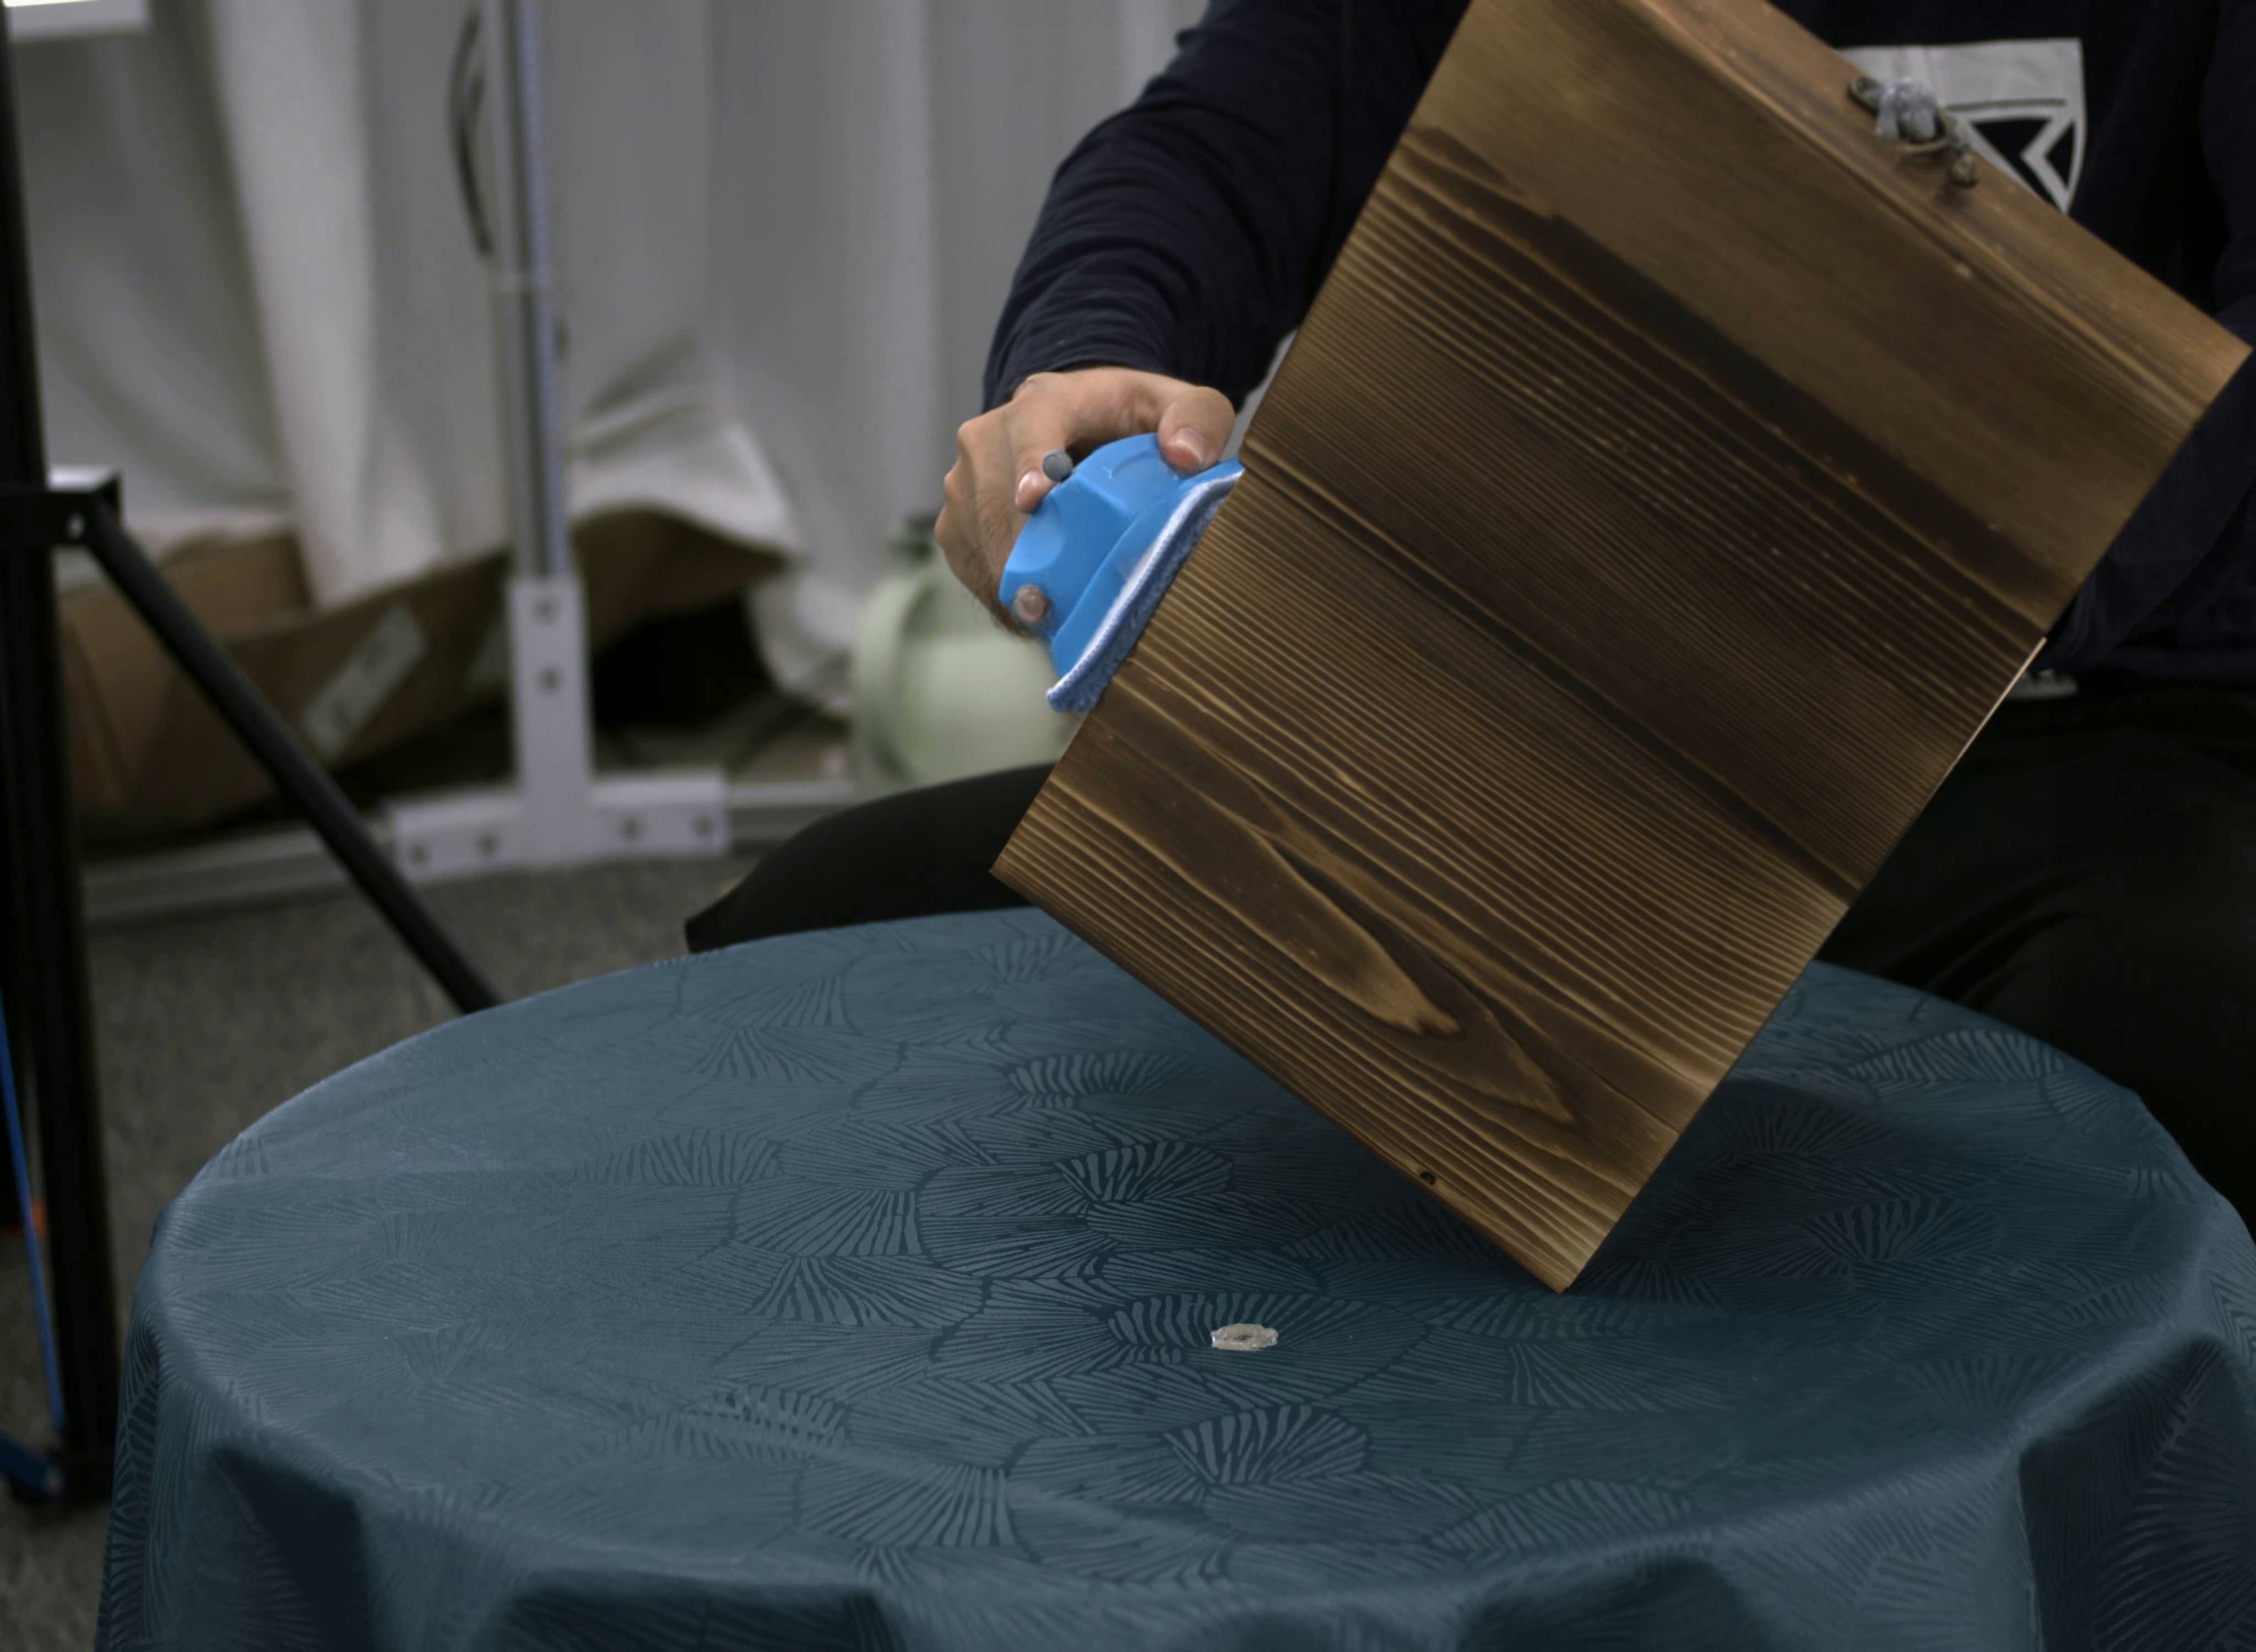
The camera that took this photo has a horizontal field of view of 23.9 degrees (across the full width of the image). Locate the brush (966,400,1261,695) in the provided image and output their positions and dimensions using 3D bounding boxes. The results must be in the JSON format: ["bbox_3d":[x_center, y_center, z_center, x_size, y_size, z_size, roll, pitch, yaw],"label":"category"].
[{"bbox_3d":[-0.010,-0.084,1.528,0.056,0.084,0.143,39,15,2],"label":"brush"}]

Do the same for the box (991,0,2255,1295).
[{"bbox_3d":[0.147,-0.077,1.441,0.210,0.378,0.318,37,27,7],"label":"box"}]
